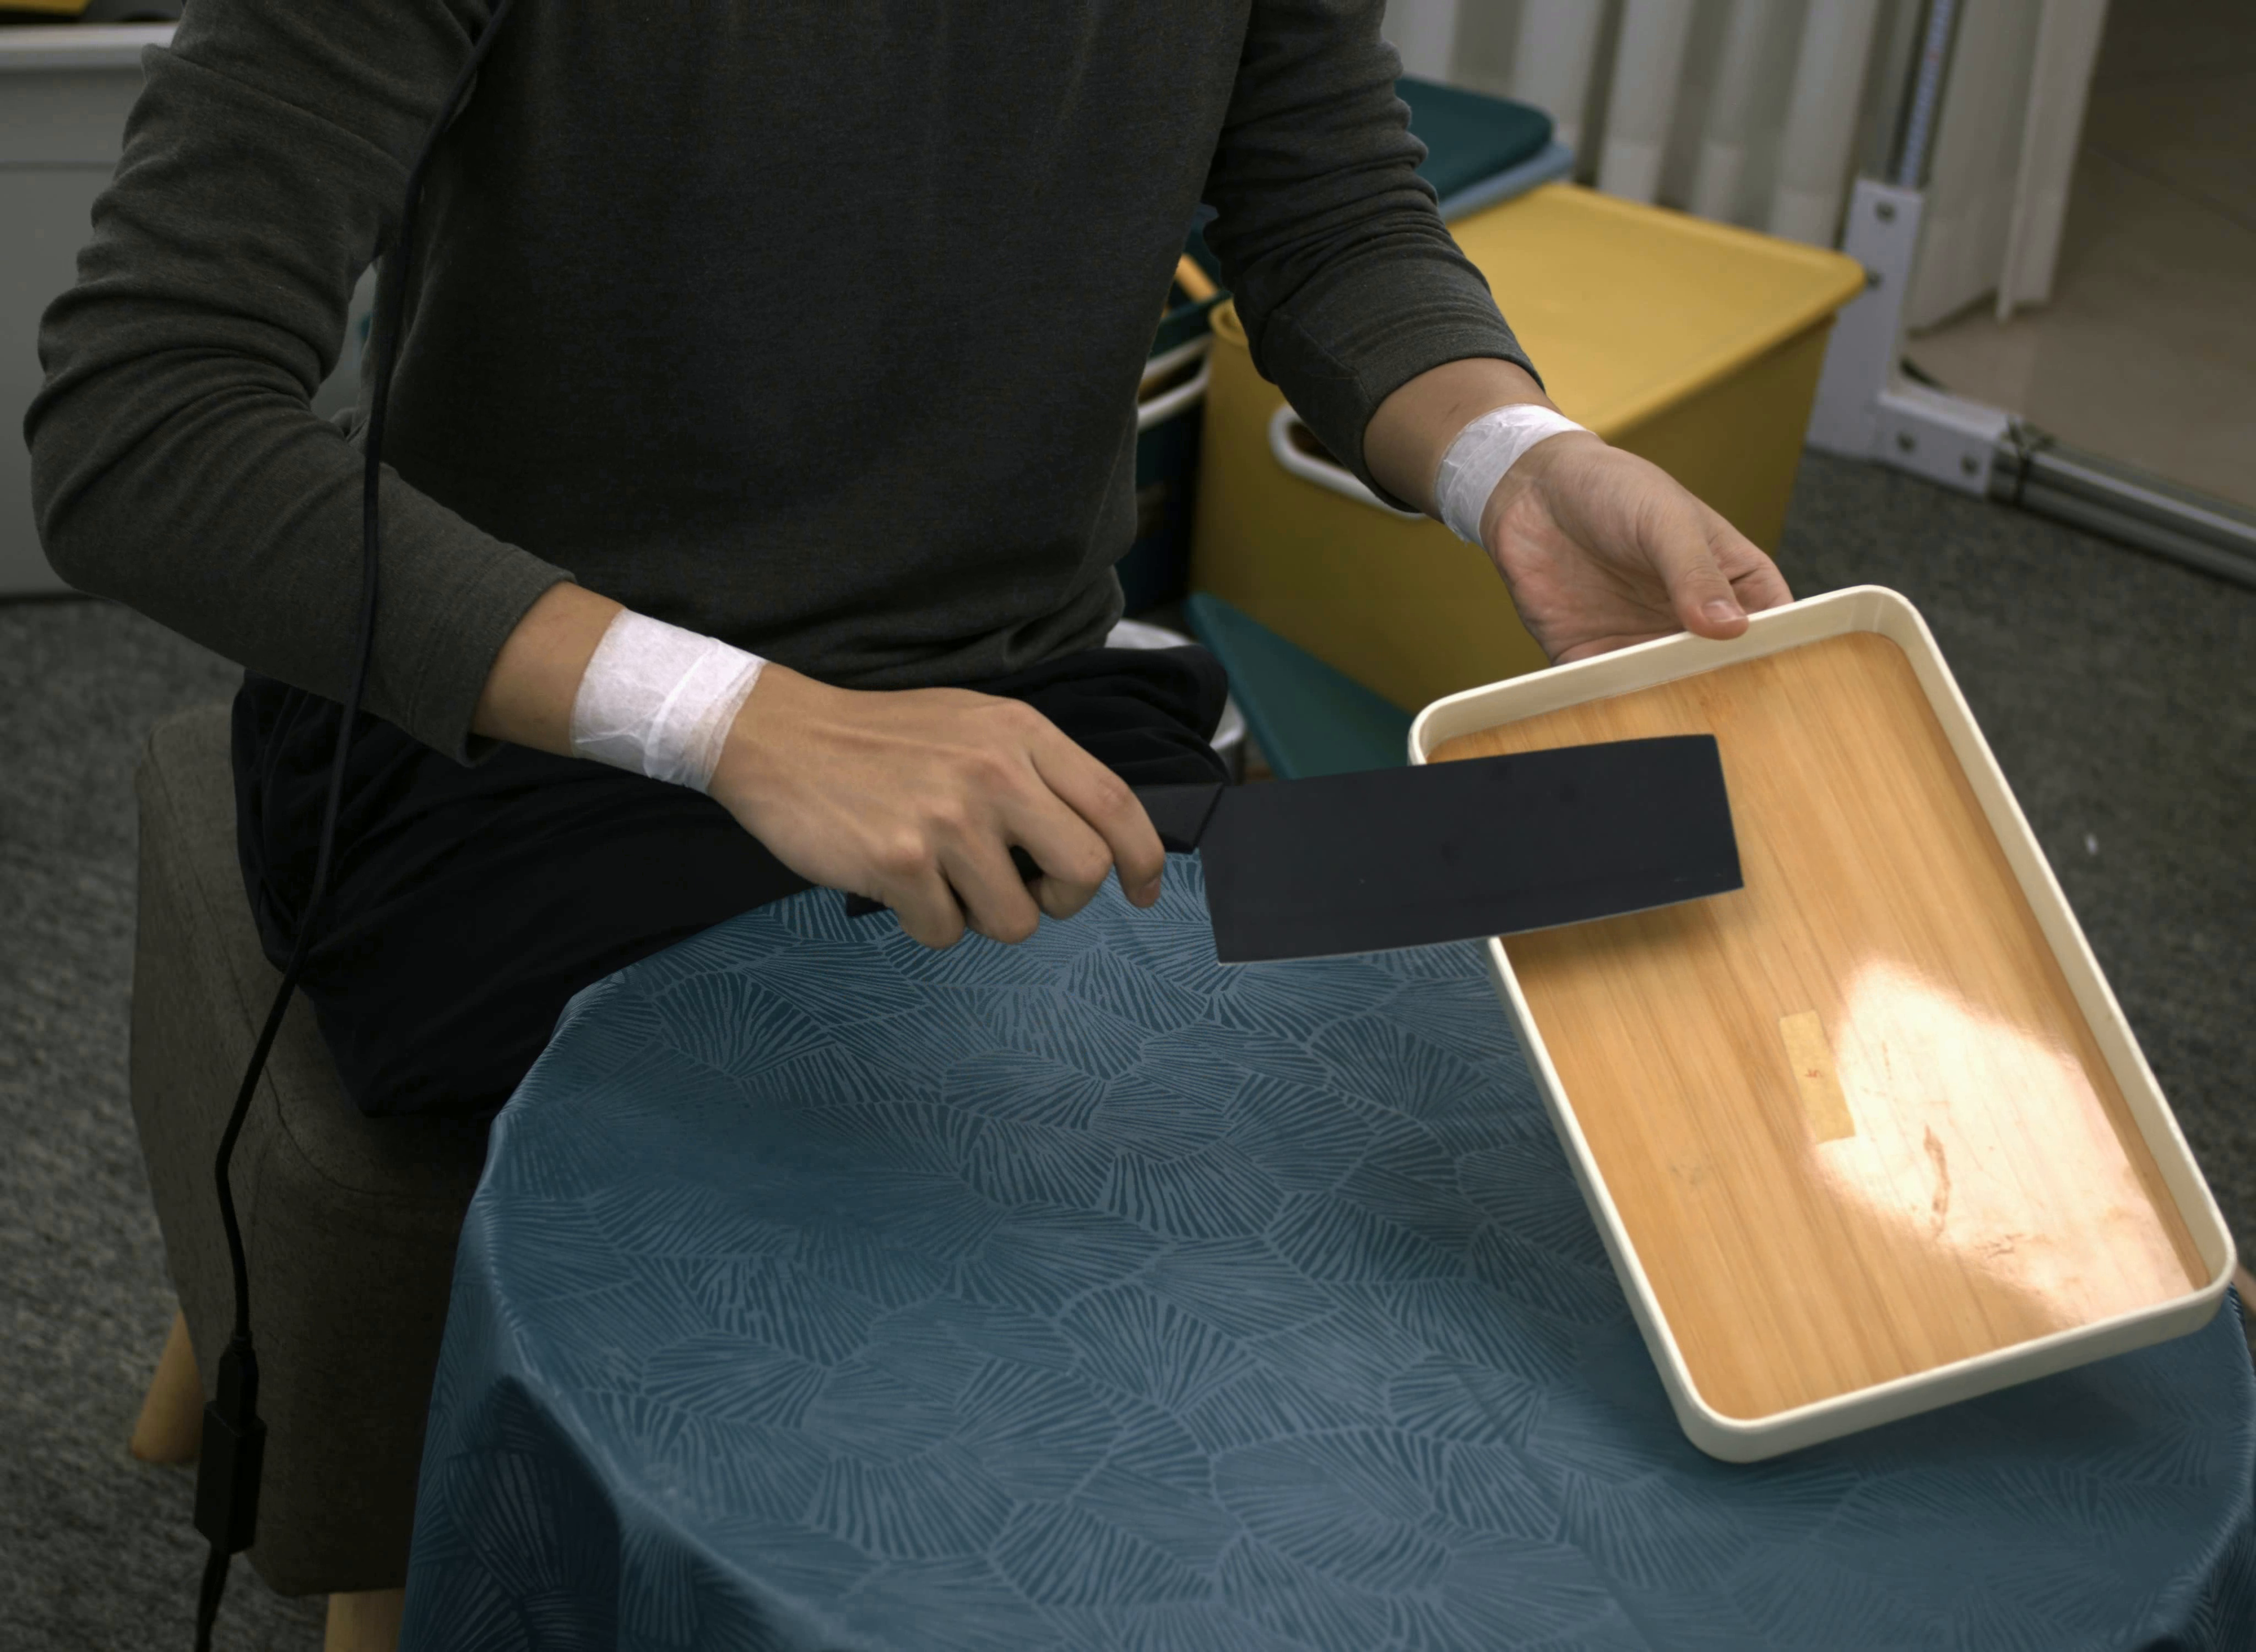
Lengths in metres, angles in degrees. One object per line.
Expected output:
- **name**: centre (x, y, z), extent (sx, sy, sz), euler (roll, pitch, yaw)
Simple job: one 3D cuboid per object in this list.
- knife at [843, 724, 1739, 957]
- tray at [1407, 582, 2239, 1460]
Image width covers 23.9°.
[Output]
- **knife**: centre (0.054, 0.008, 1.793), extent (0.301, 0.021, 0.081), euler (-3, 63, -1)
- **tray**: centre (0.226, 0.059, 1.777), extent (0.191, 0.027, 0.303), euler (-15, 56, -9)
